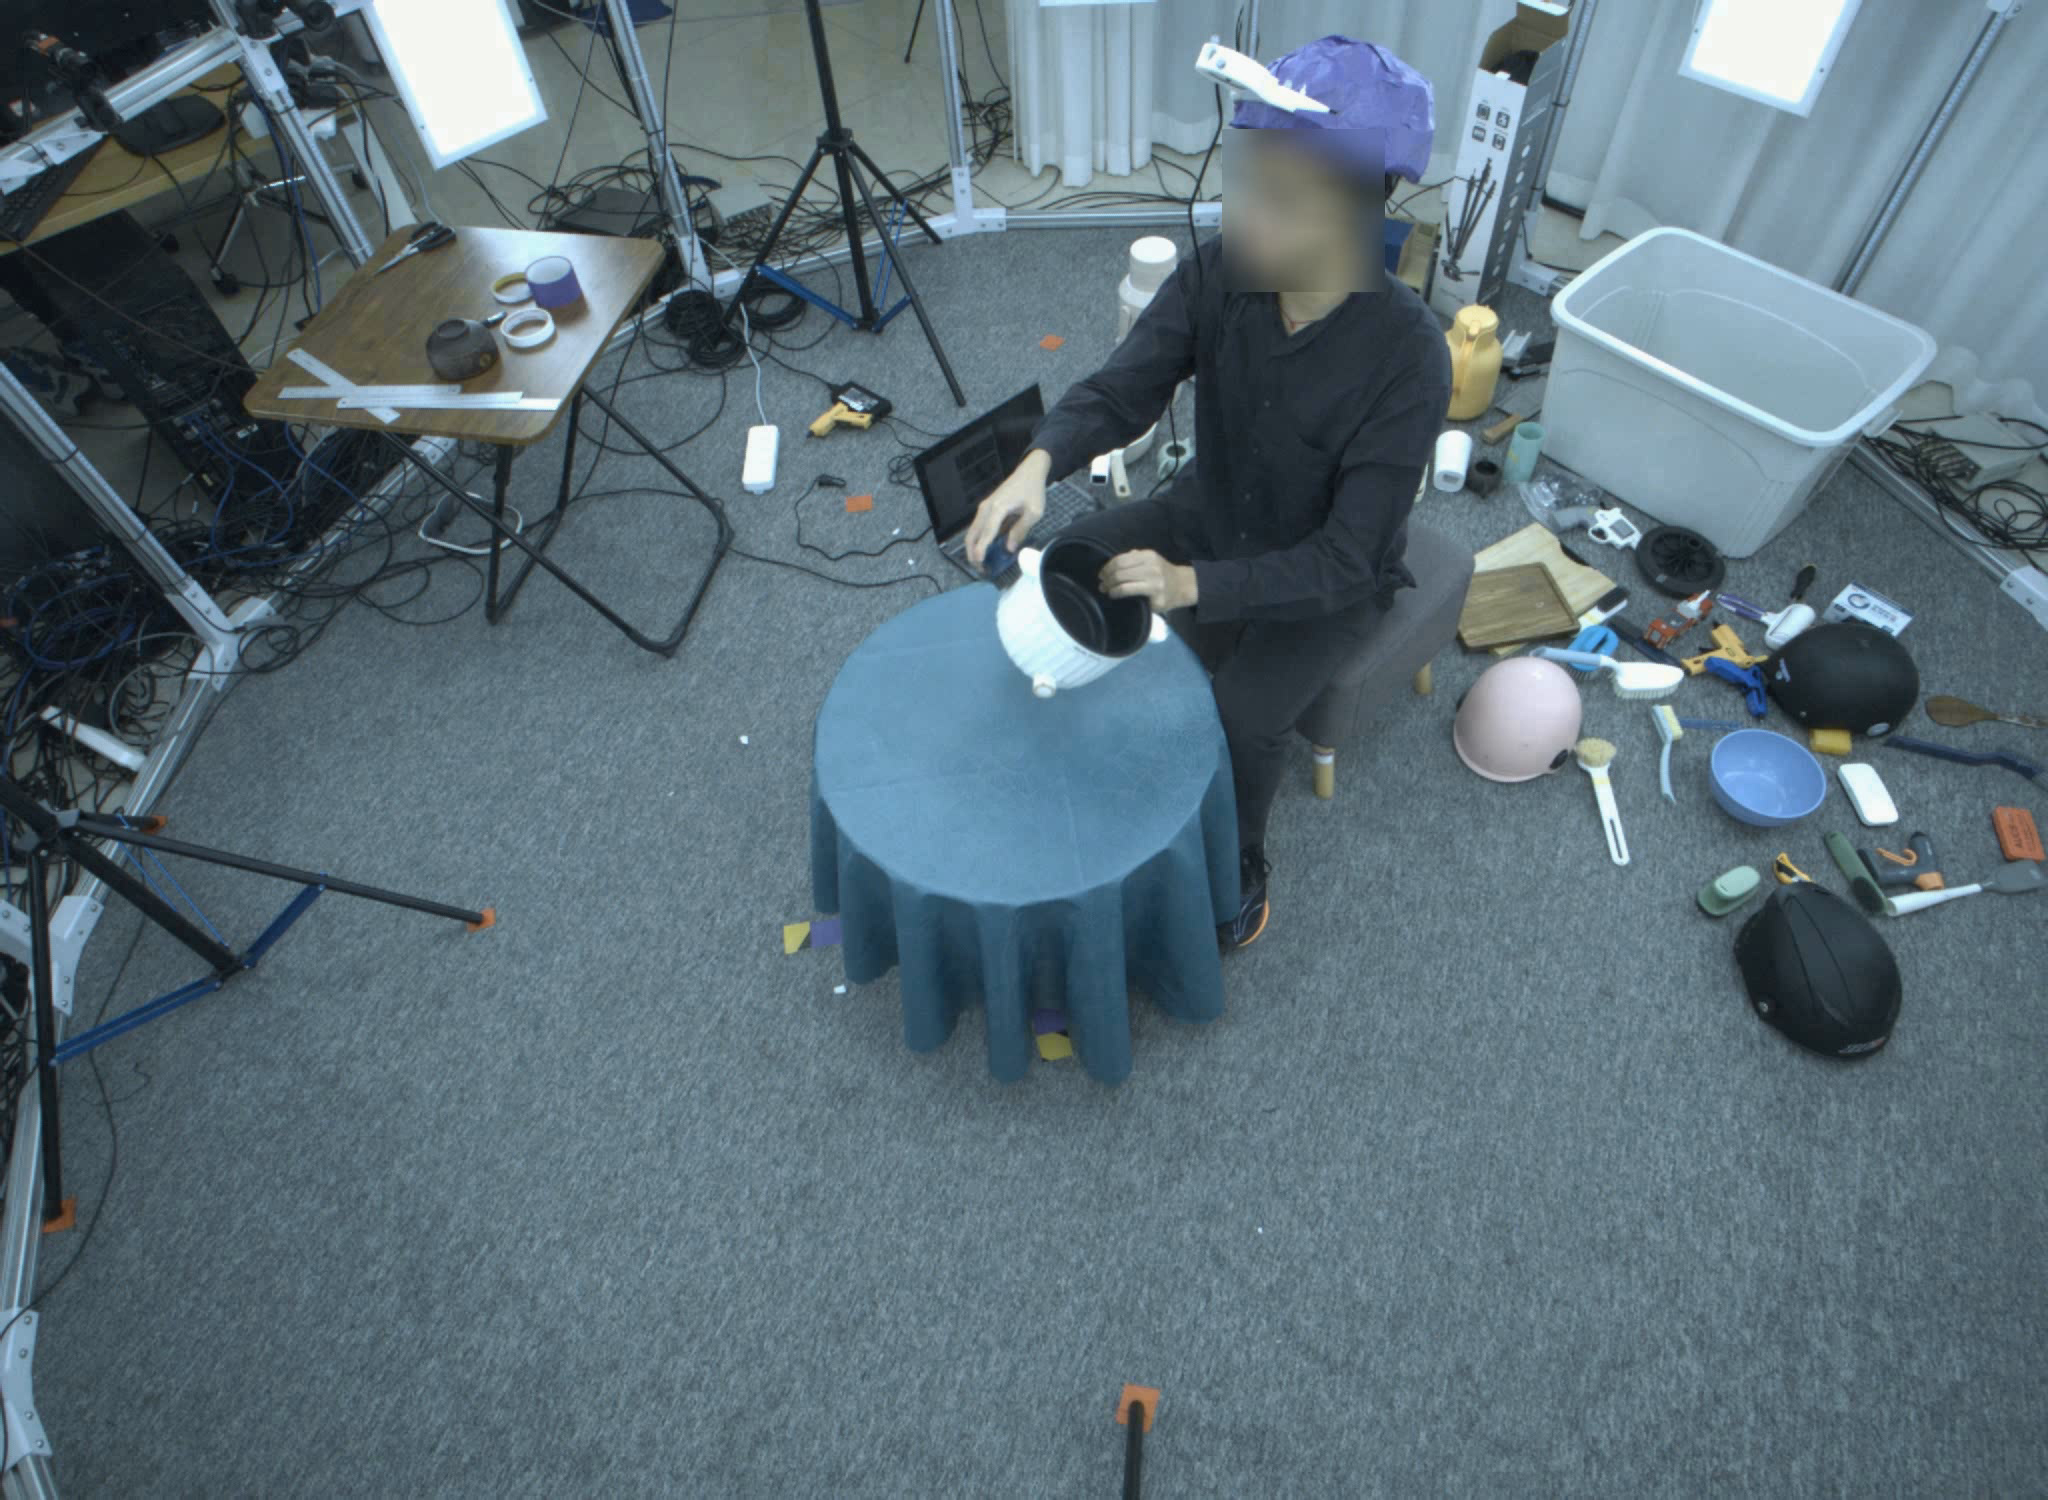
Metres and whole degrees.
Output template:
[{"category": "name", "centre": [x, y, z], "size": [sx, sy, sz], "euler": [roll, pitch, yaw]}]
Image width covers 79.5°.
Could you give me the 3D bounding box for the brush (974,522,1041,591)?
[{"category": "brush", "centre": [-0.020, -0.259, 1.652], "size": [0.062, 0.067, 0.122], "euler": [46, 35, -10]}]

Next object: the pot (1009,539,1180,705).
[{"category": "pot", "centre": [0.077, -0.163, 1.637], "size": [0.245, 0.141, 0.189], "euler": [22, 54, -27]}]
